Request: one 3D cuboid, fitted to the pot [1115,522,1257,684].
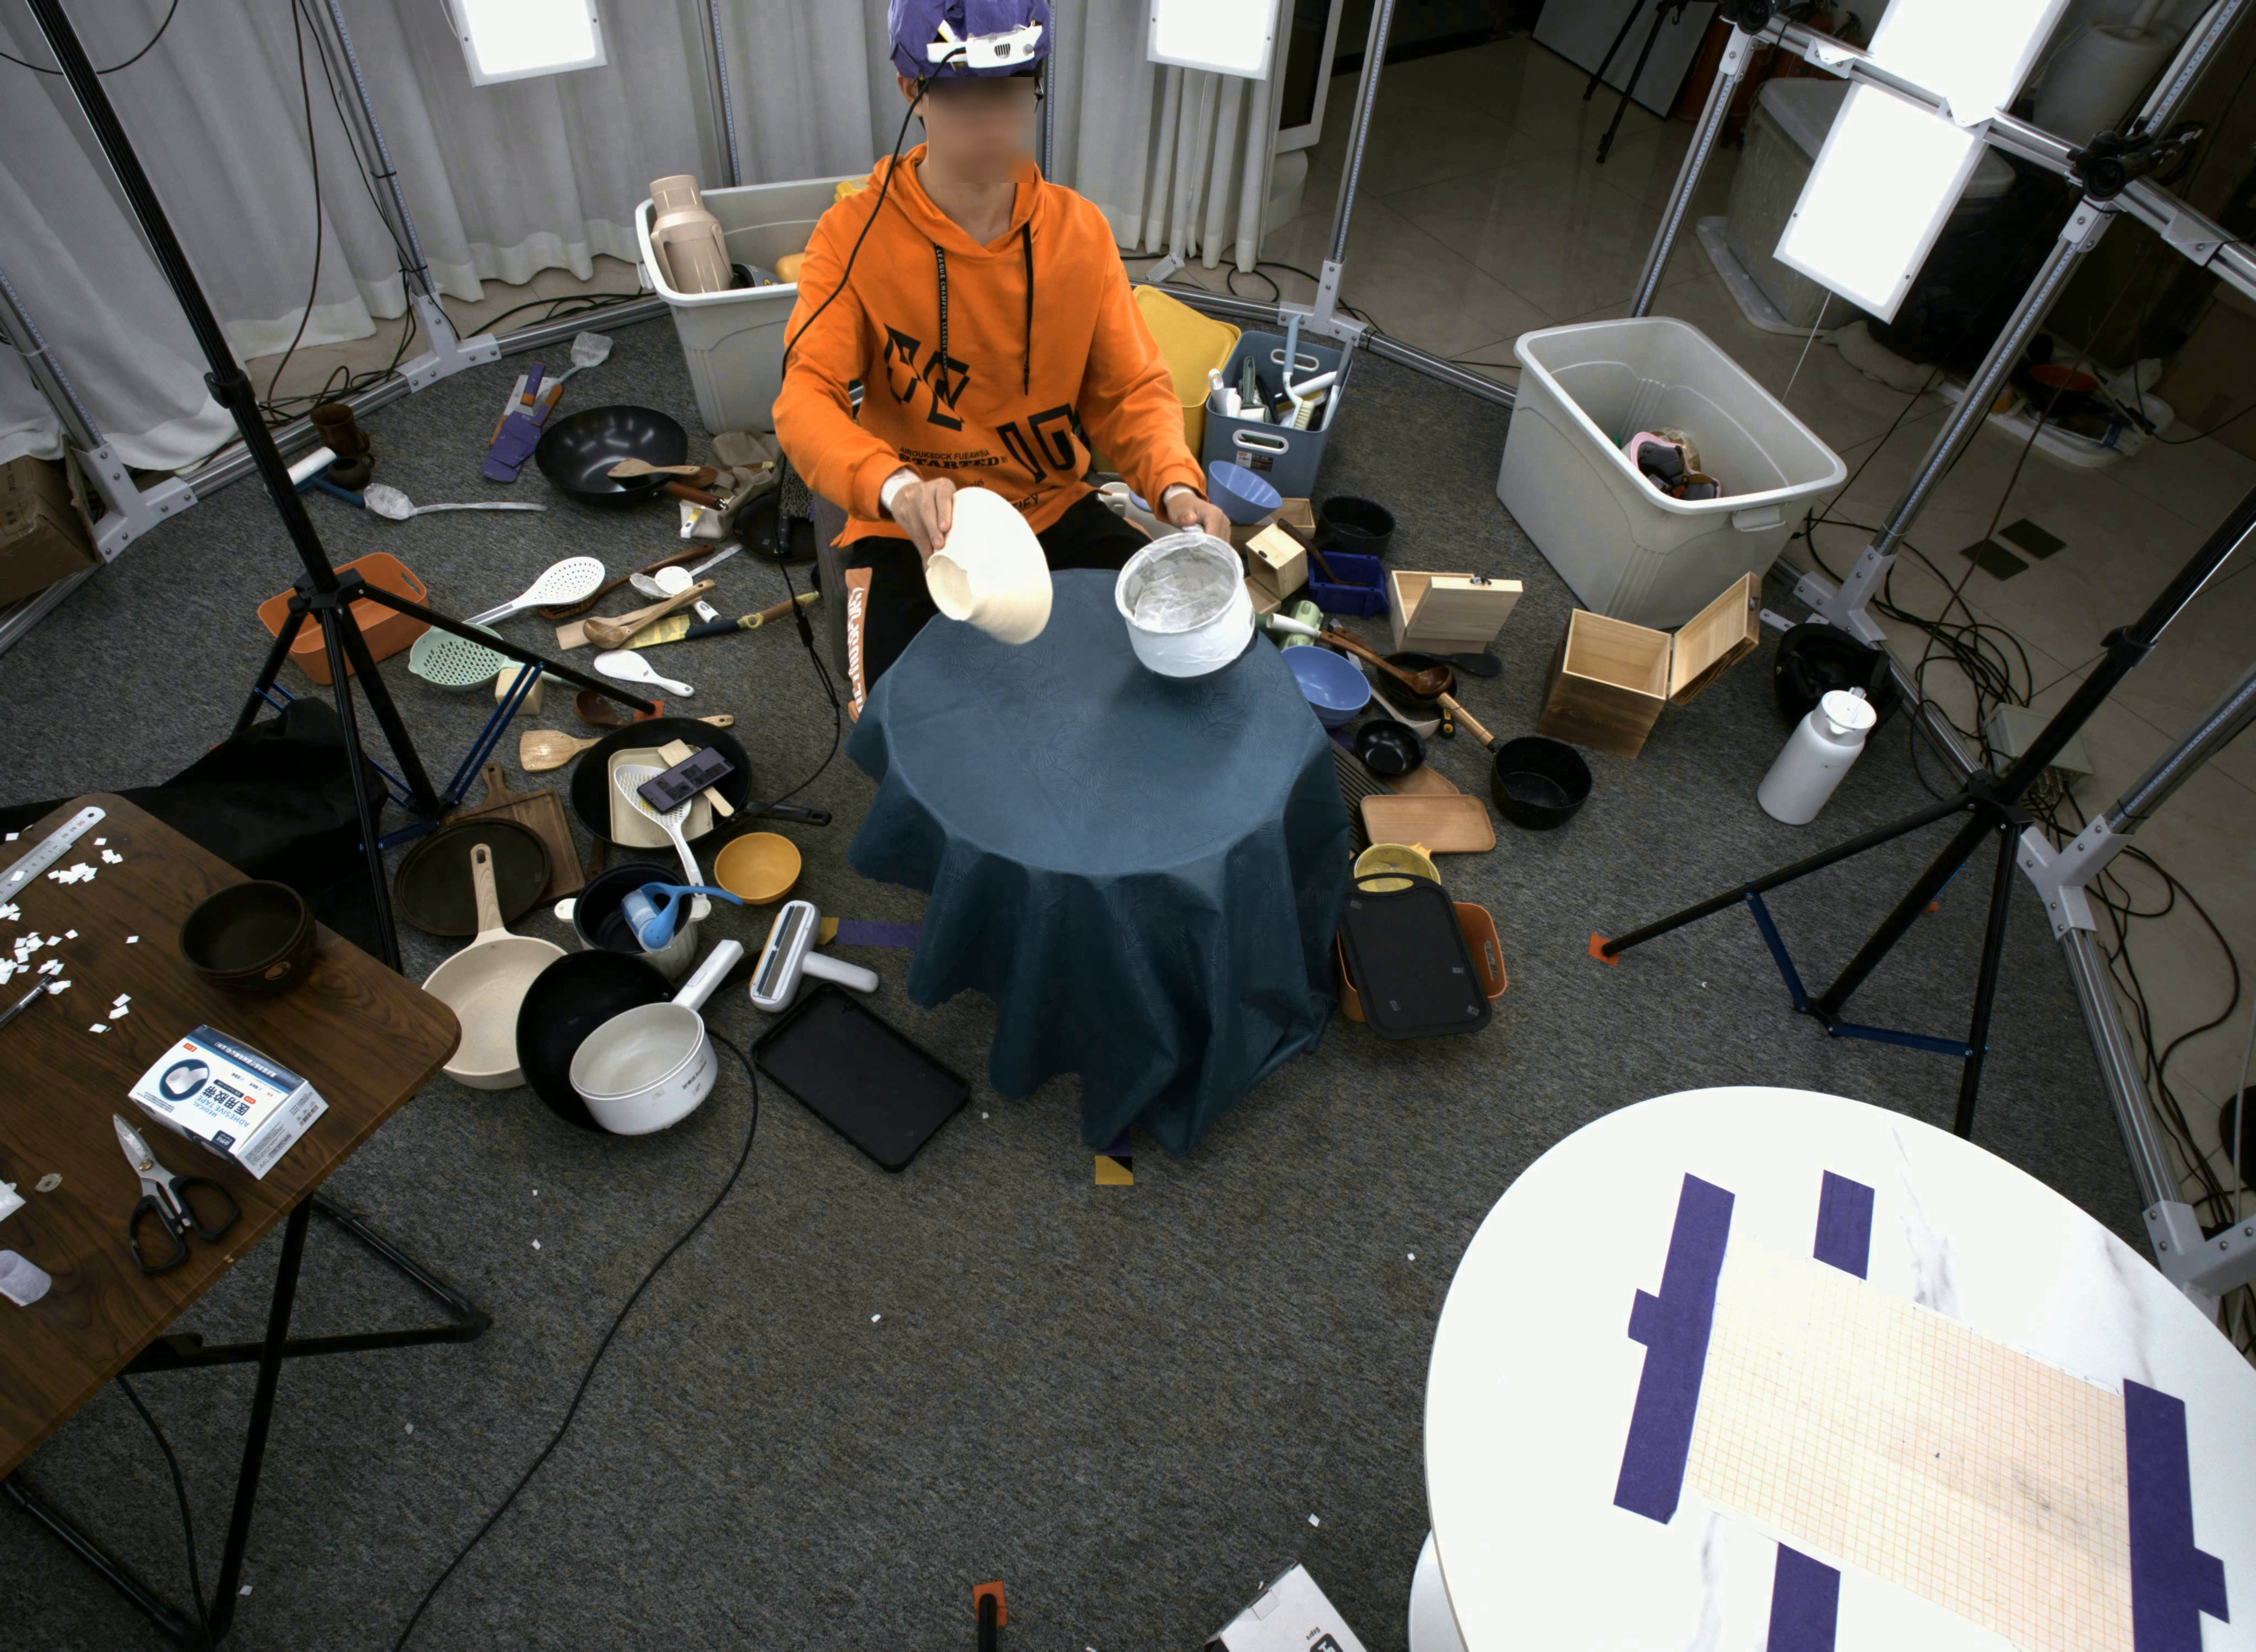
[{"bbox_3d":[0.086,-0.321,1.791,0.179,0.133,0.239,-1,58,16],"label":"pot"}]

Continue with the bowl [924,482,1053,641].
[{"bbox_3d":[-0.190,-0.306,1.565,0.207,0.199,0.078,37,50,24],"label":"bowl"}]
